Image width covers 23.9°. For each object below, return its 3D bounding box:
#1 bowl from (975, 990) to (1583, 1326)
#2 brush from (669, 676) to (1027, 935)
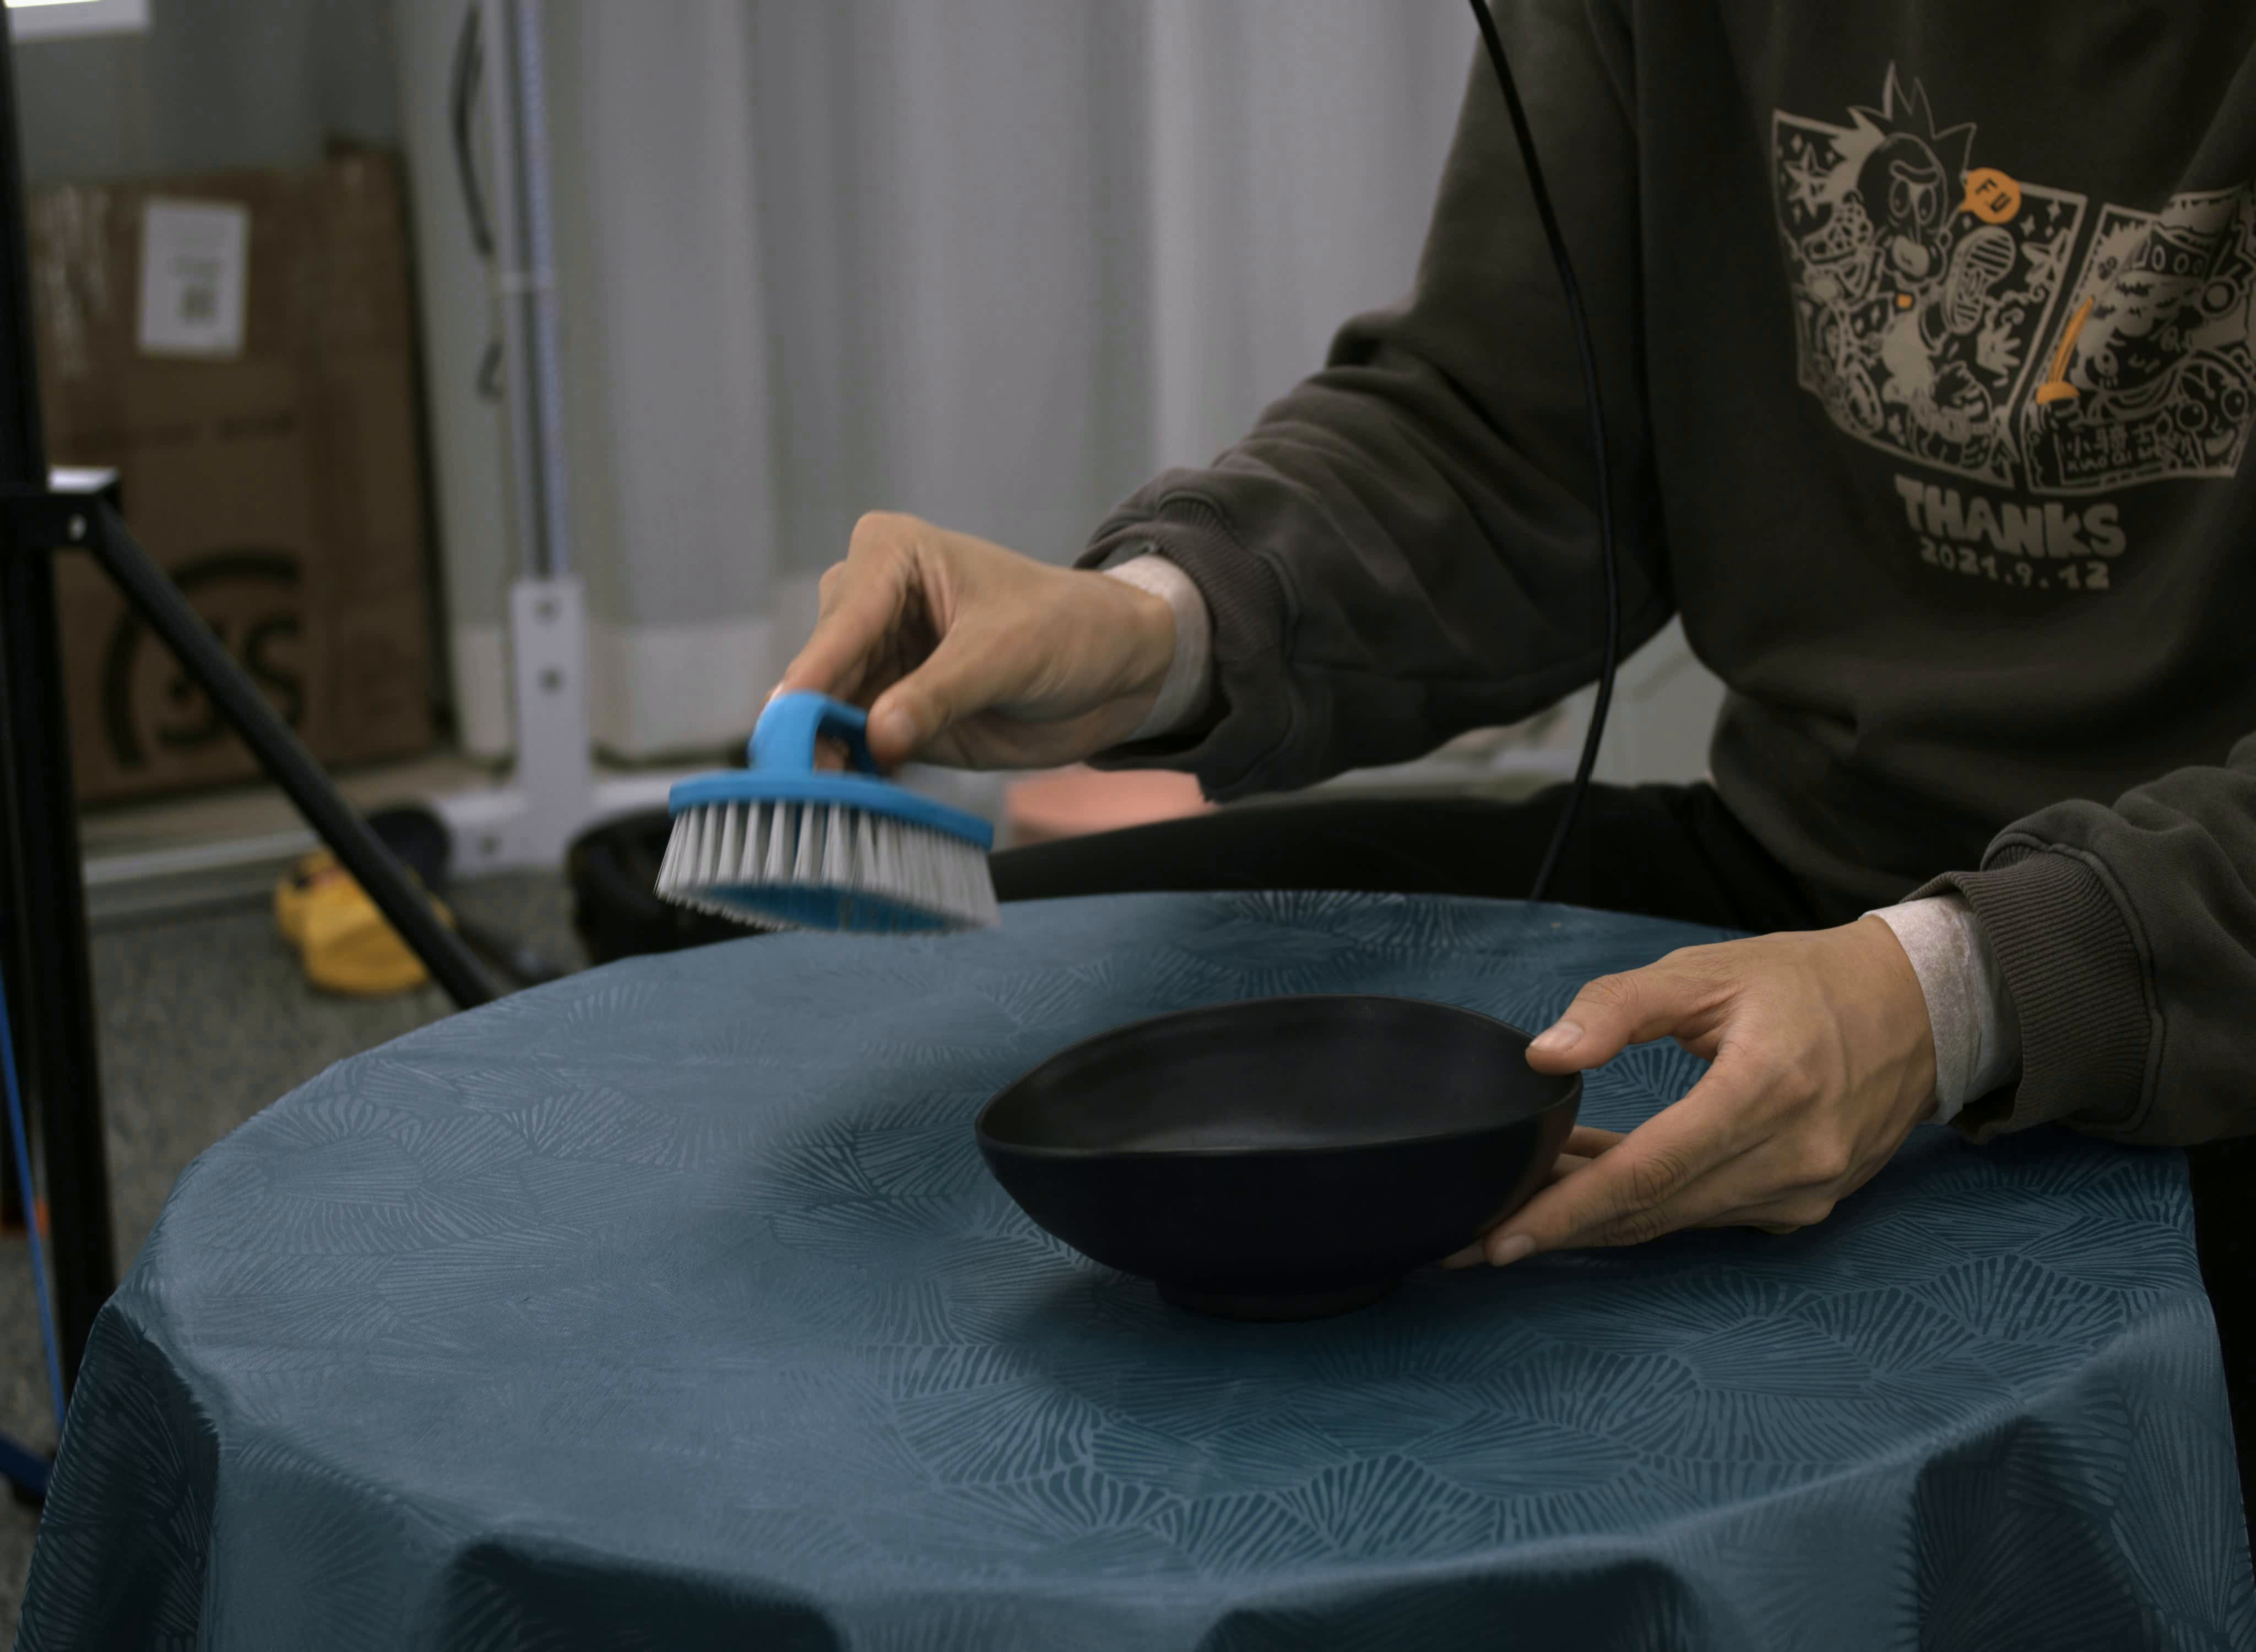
[{"bbox_3d":[0.043,0.098,1.476,0.170,0.066,0.138,-4,15,3],"label":"bowl"},{"bbox_3d":[-0.085,-0.009,1.611,0.085,0.064,0.139,-7,-13,22],"label":"brush"}]
